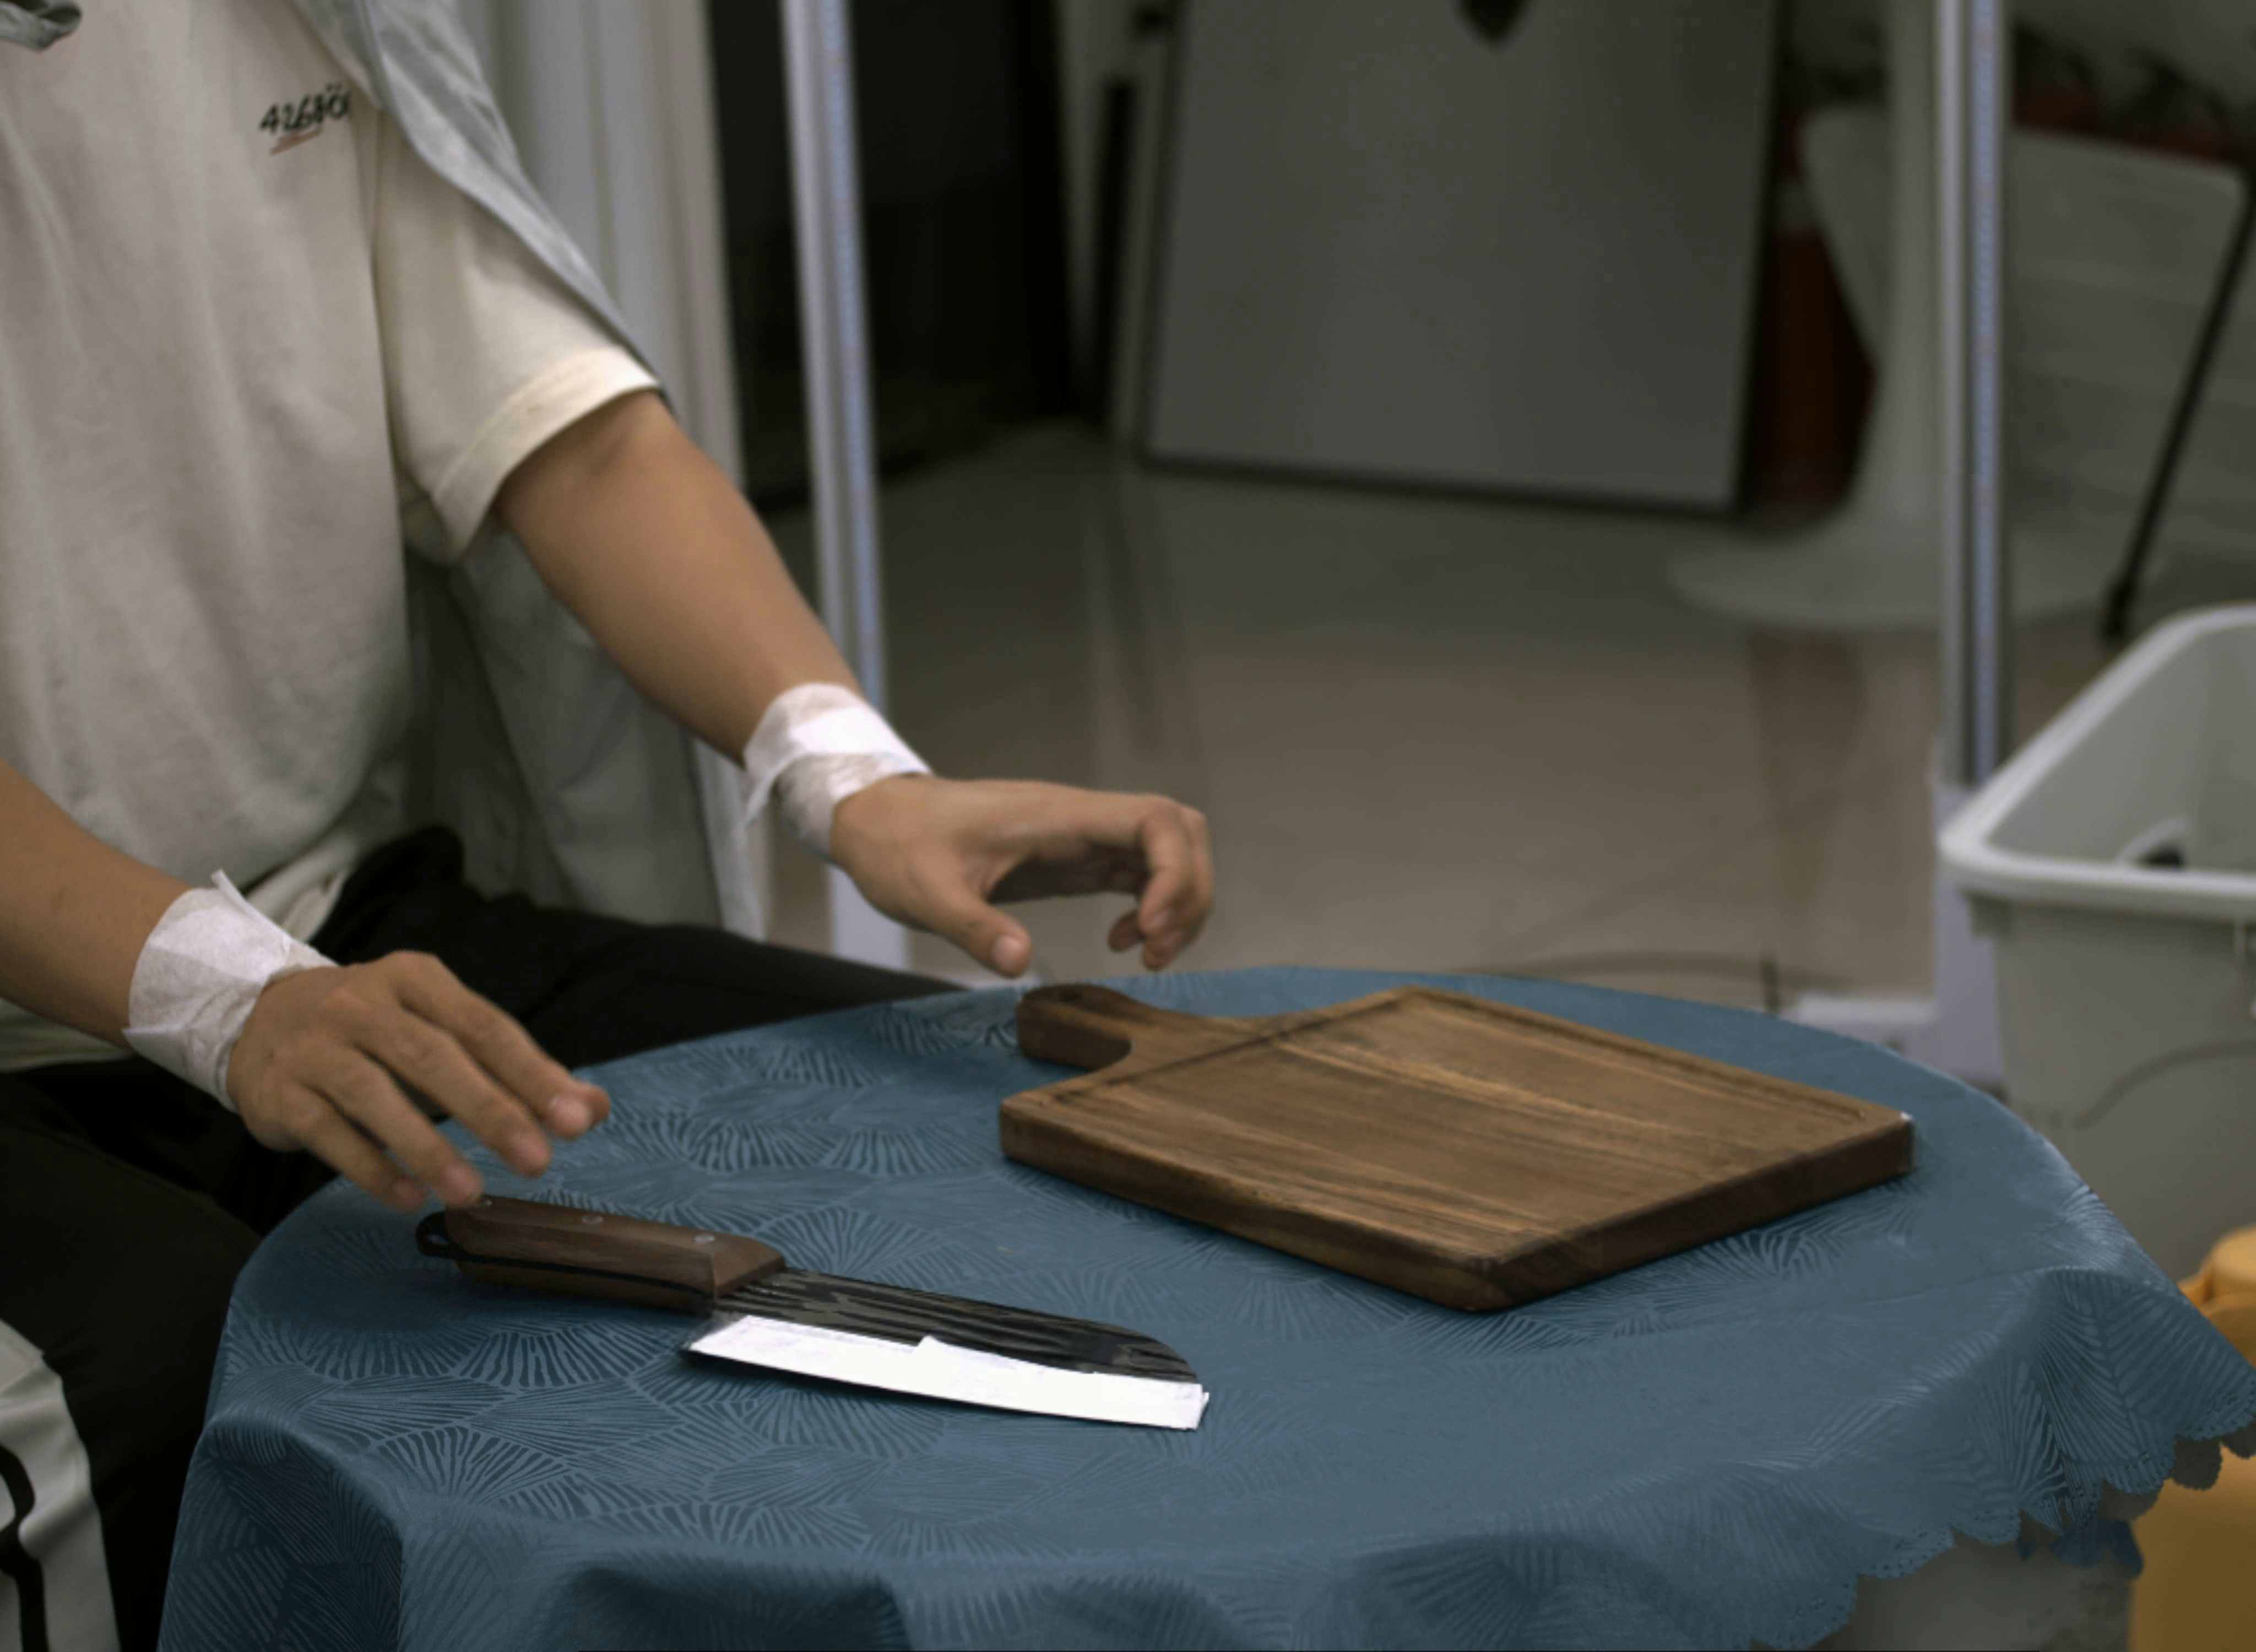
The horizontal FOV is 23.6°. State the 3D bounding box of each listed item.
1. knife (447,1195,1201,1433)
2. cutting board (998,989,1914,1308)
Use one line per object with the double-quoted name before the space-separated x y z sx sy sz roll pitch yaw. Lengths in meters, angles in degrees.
"knife" -0.100 0.151 1.644 0.301 0.024 0.067 8 20 31
"cutting board" 0.075 0.095 1.815 0.196 0.023 0.356 -14 16 -36
